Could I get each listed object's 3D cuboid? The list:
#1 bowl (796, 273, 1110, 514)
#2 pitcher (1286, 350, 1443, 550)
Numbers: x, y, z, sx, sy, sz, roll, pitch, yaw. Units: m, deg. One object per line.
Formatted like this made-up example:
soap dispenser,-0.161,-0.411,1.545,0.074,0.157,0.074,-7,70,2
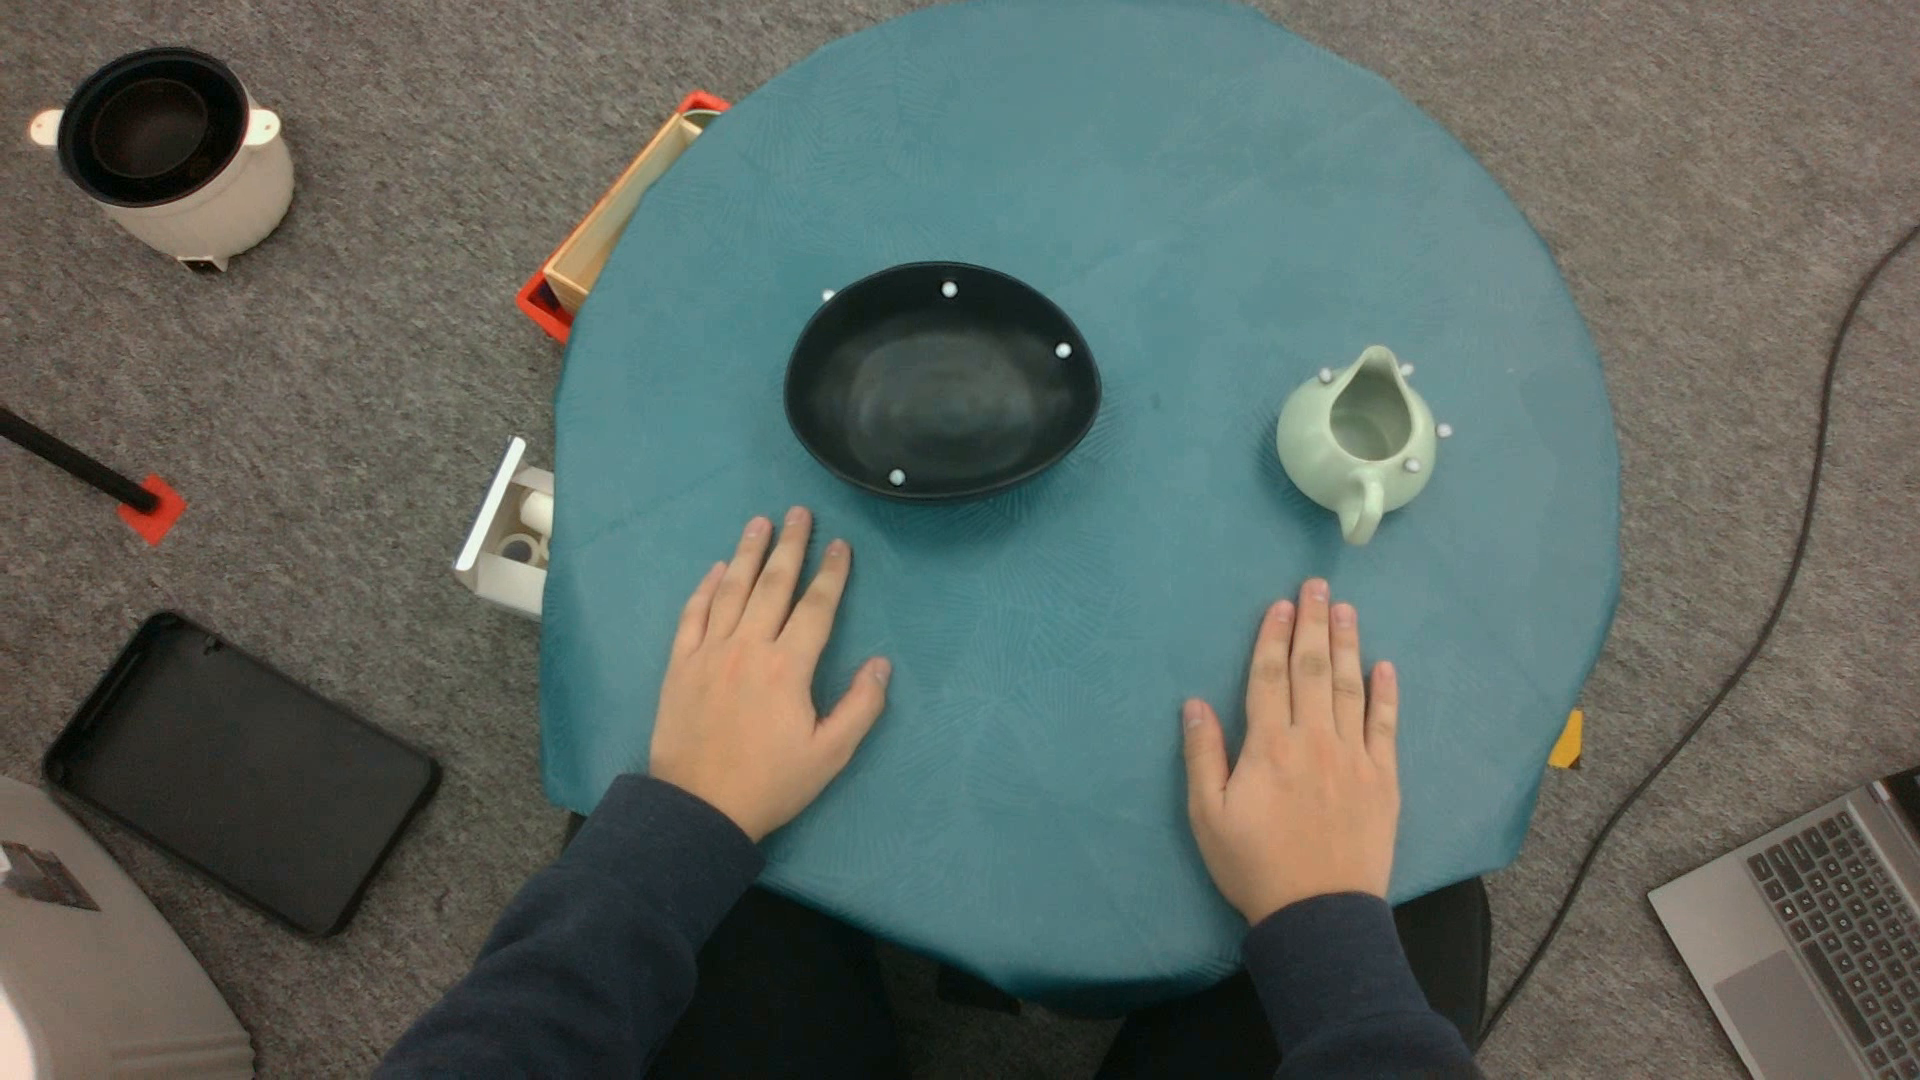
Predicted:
bowl,-0.003,-0.074,0.764,0.170,0.066,0.137,-4,72,-1
pitcher,0.223,-0.045,0.755,0.086,0.060,0.108,5,74,4
